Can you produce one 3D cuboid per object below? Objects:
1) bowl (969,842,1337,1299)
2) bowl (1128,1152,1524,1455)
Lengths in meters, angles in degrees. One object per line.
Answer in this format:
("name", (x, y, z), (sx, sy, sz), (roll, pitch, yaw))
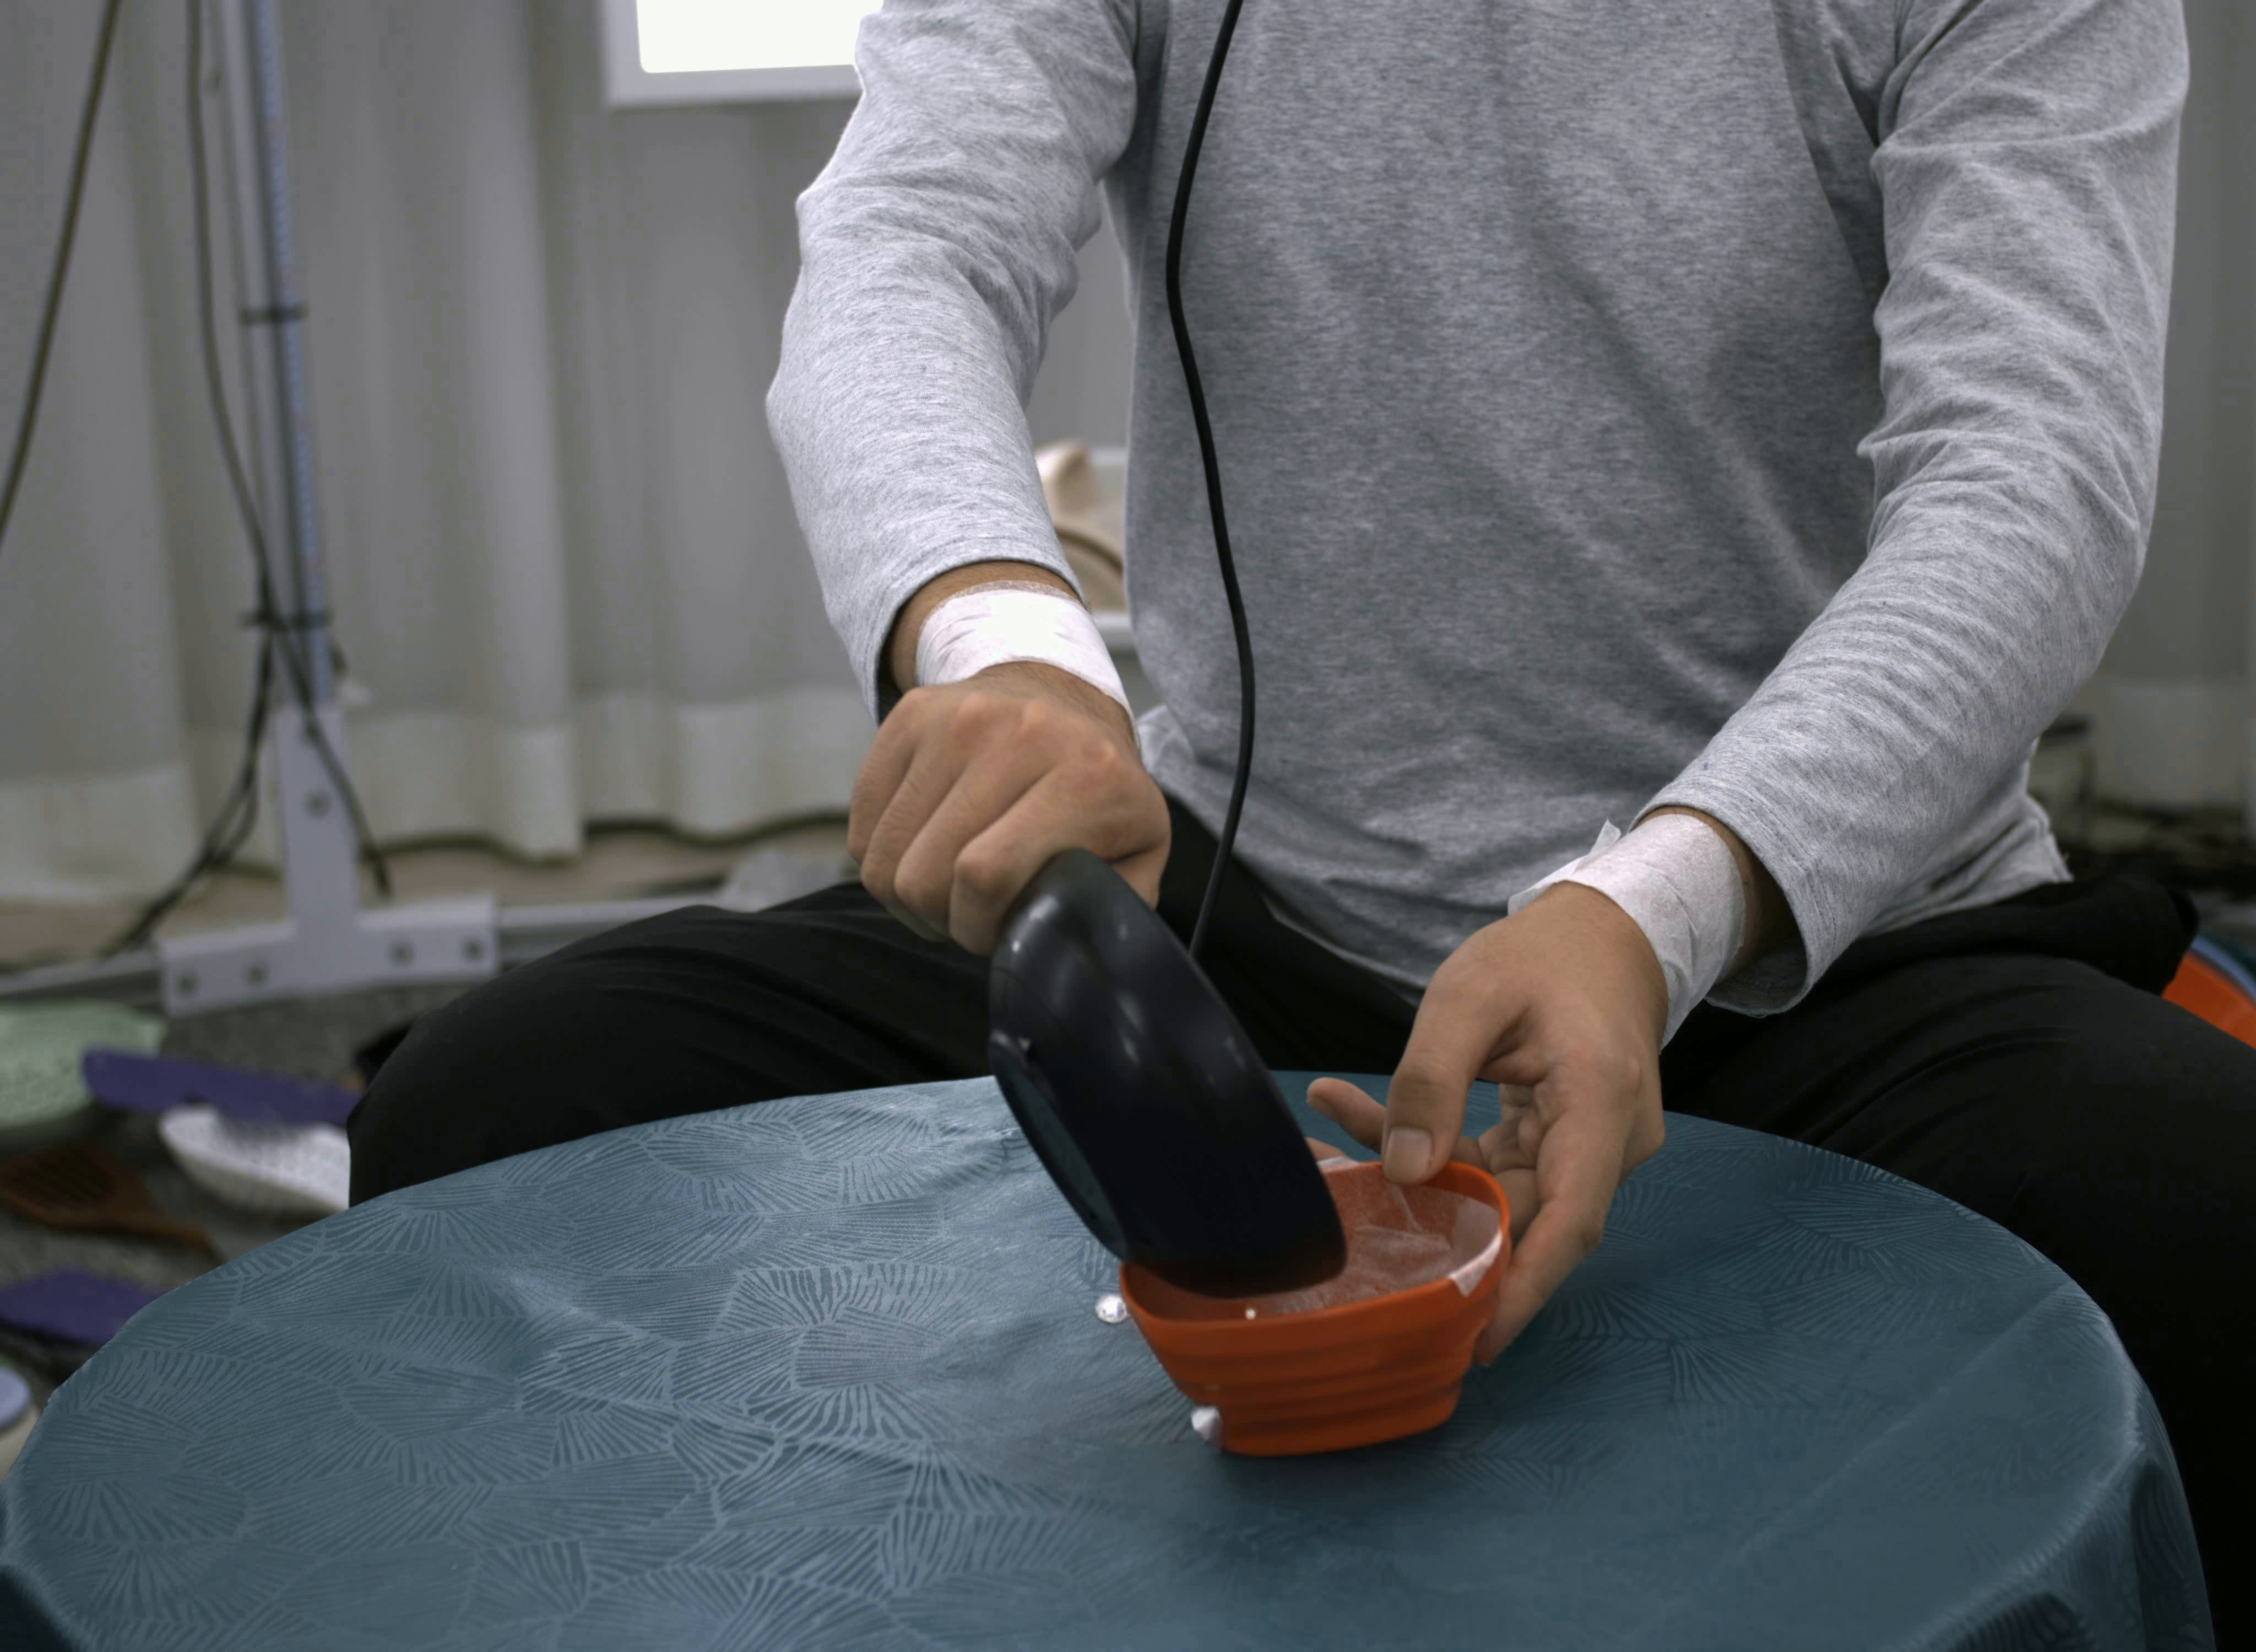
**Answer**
("bowl", (-0.003, 0.076, 1.485), (0.050, 0.139, 0.141), (-32, 24, -16))
("bowl", (0.058, 0.135, 1.510), (0.118, 0.051, 0.120), (-9, 18, 3))
